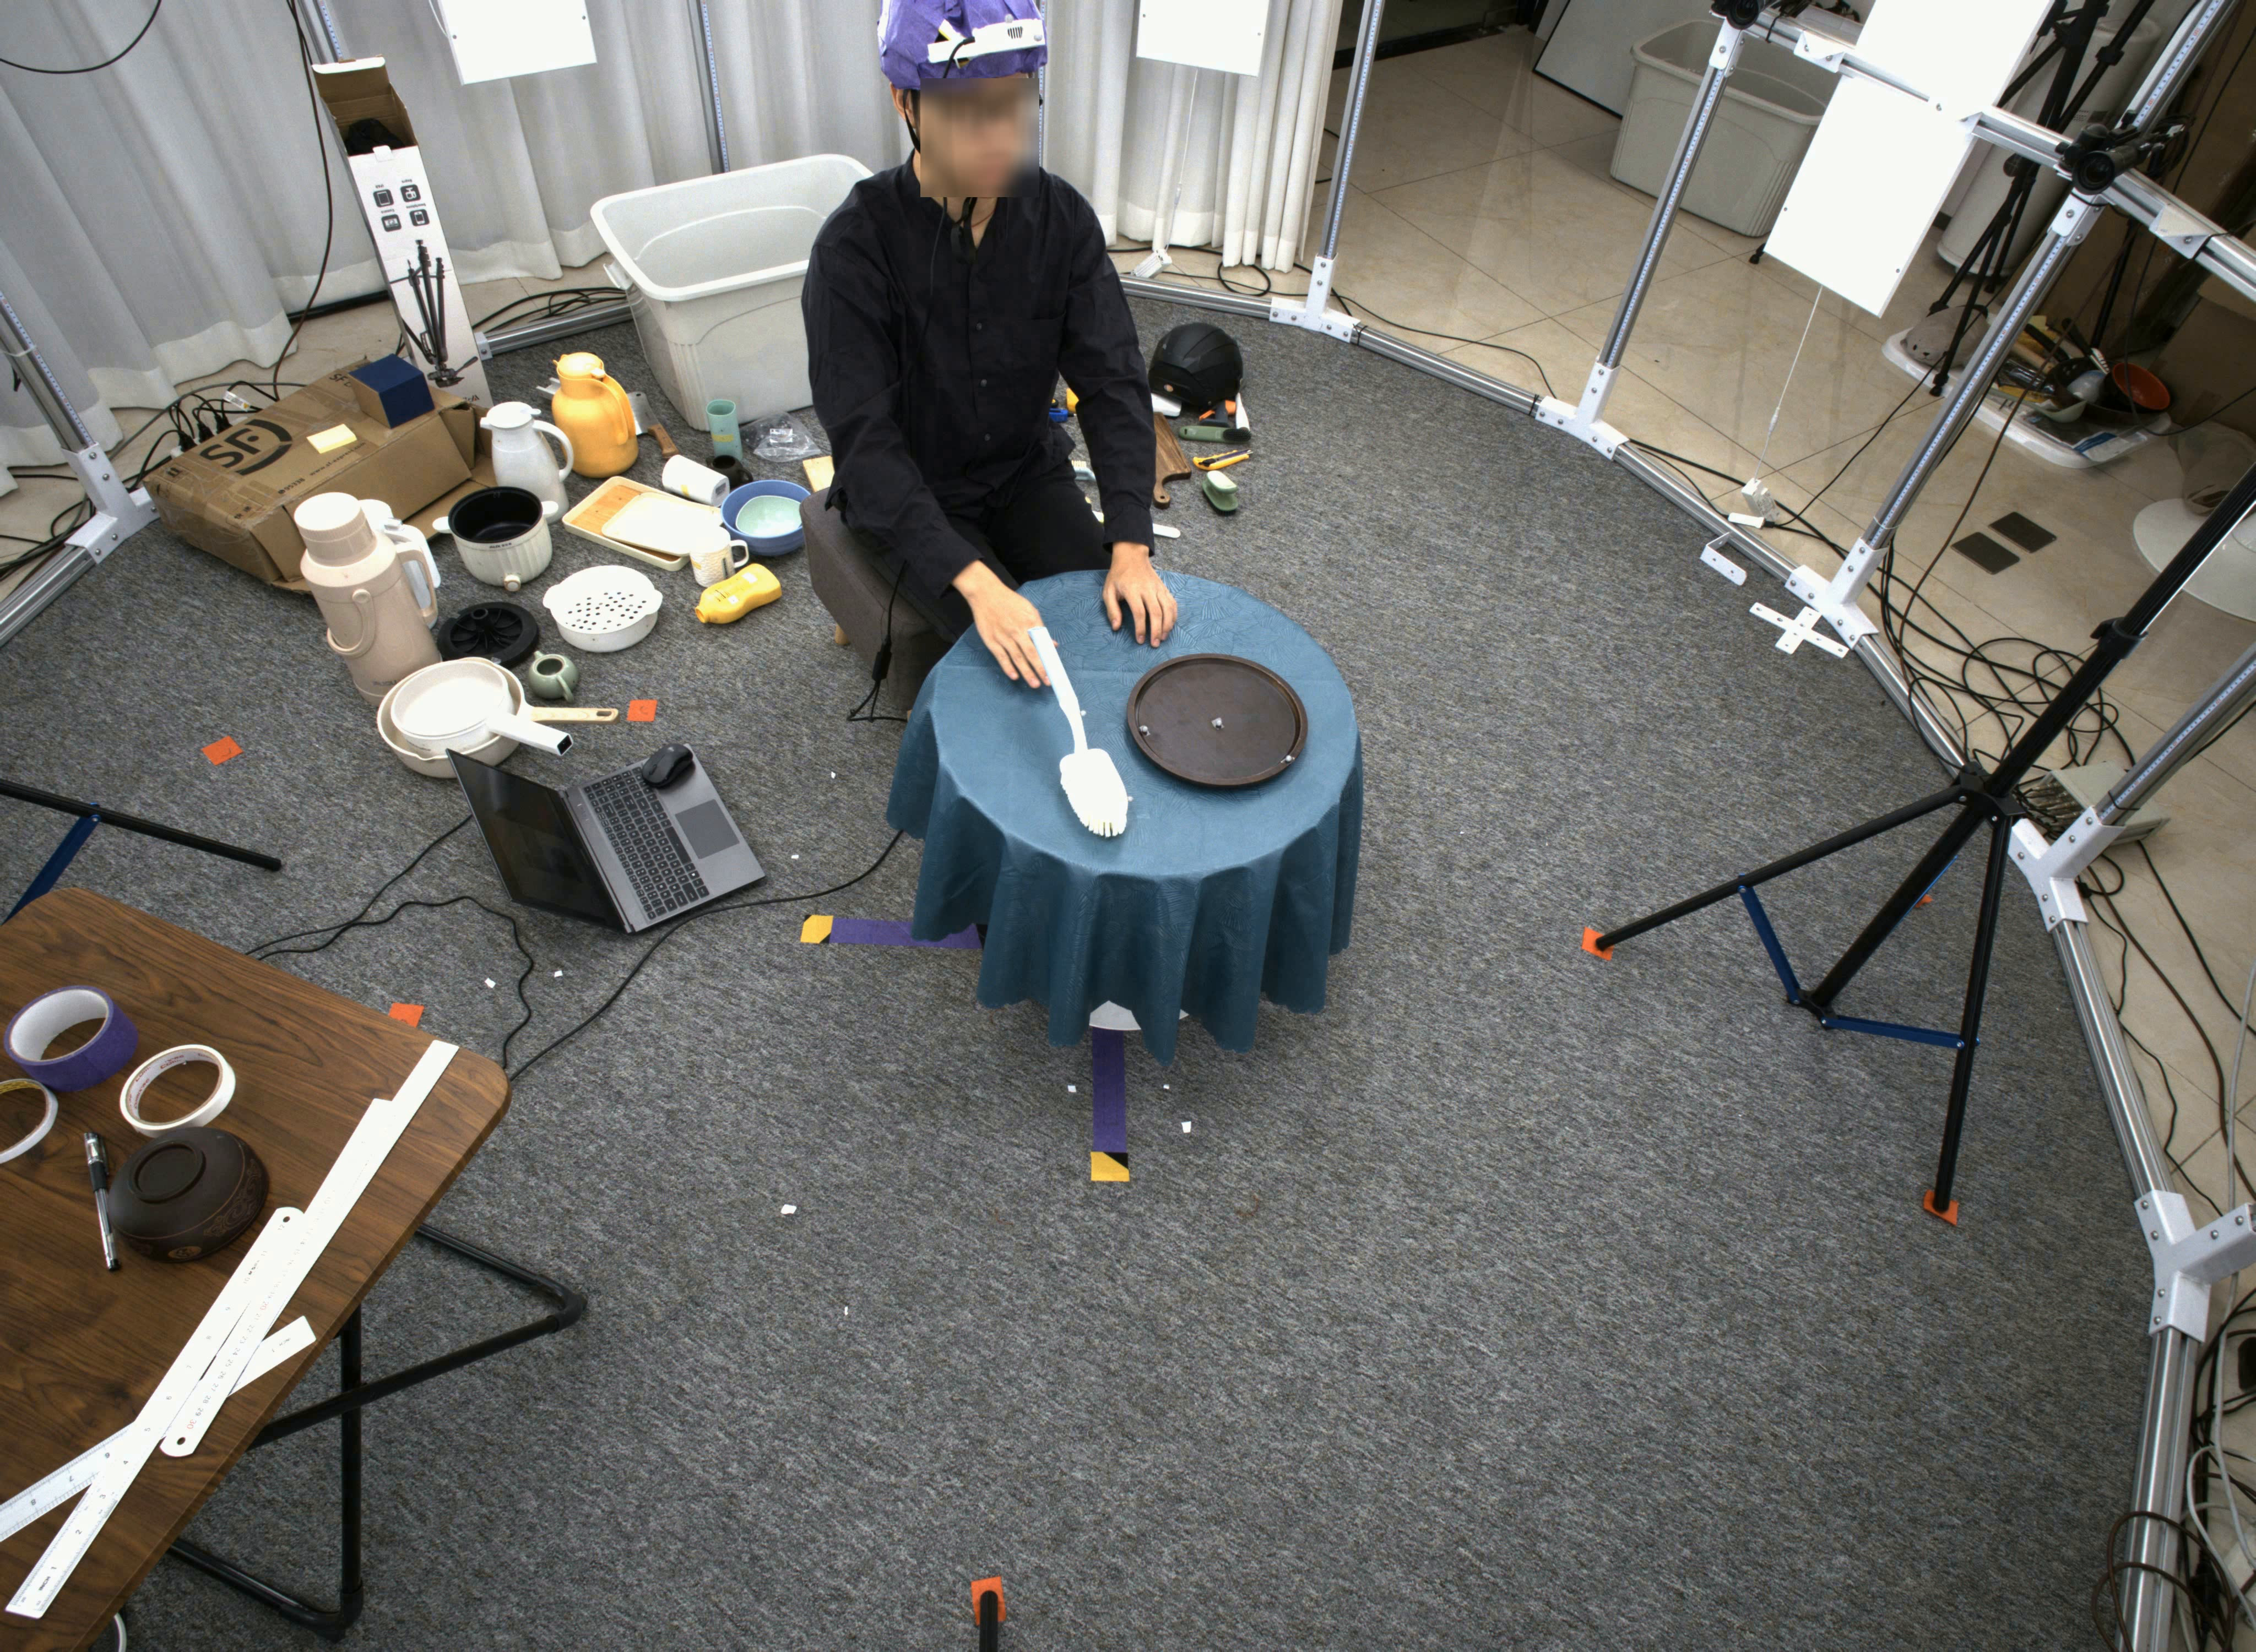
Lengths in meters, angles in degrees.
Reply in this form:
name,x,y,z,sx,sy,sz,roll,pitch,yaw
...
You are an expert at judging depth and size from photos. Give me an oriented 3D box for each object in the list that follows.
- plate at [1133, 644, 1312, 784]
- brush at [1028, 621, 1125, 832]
name,x,y,z,sx,sy,sz,roll,pitch,yaw
plate,0.132,-0.158,1.798,0.254,0.028,0.261,1,51,-2
brush,-0.073,-0.131,1.724,0.082,0.083,0.332,9,50,-48
